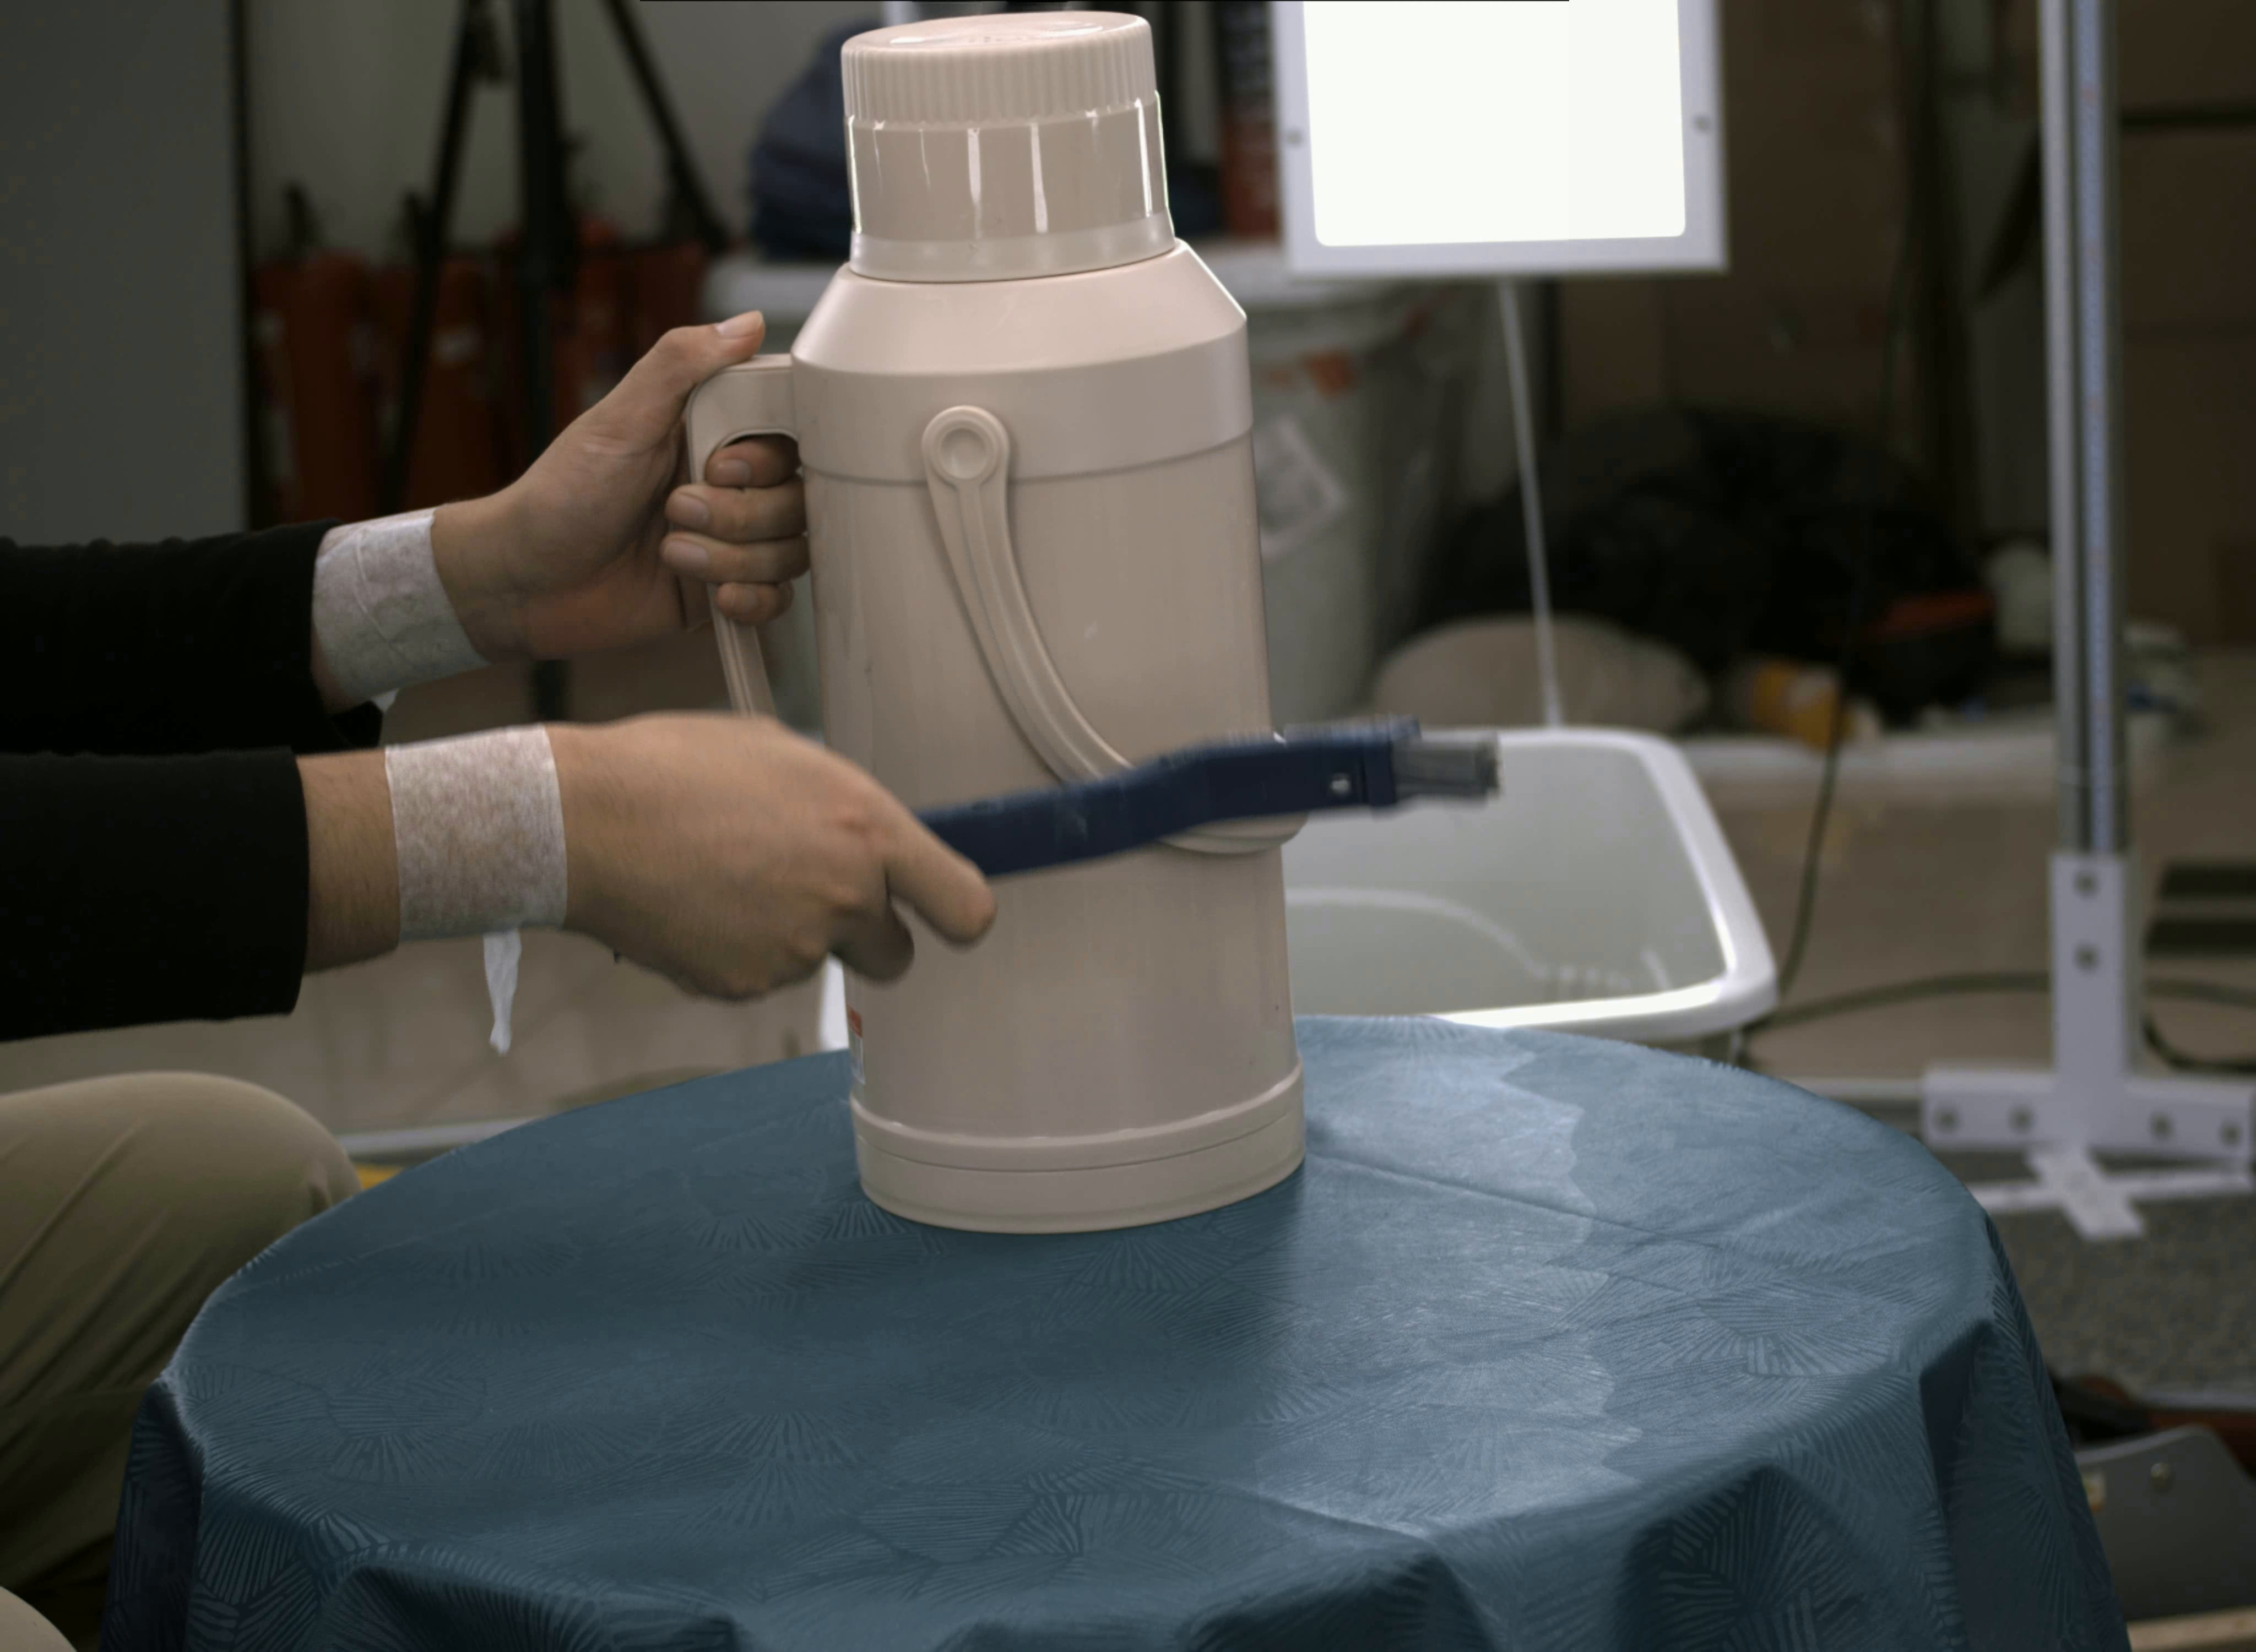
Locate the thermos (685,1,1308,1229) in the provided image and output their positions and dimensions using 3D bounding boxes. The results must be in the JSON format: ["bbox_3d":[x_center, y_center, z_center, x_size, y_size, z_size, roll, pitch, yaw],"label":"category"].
[{"bbox_3d":[-0.044,-0.074,1.895,0.209,0.408,0.173,-1,16,13],"label":"thermos"}]

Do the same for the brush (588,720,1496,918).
[{"bbox_3d":[-0.027,-0.005,1.701,0.269,0.033,0.097,-11,16,-17],"label":"brush"}]
